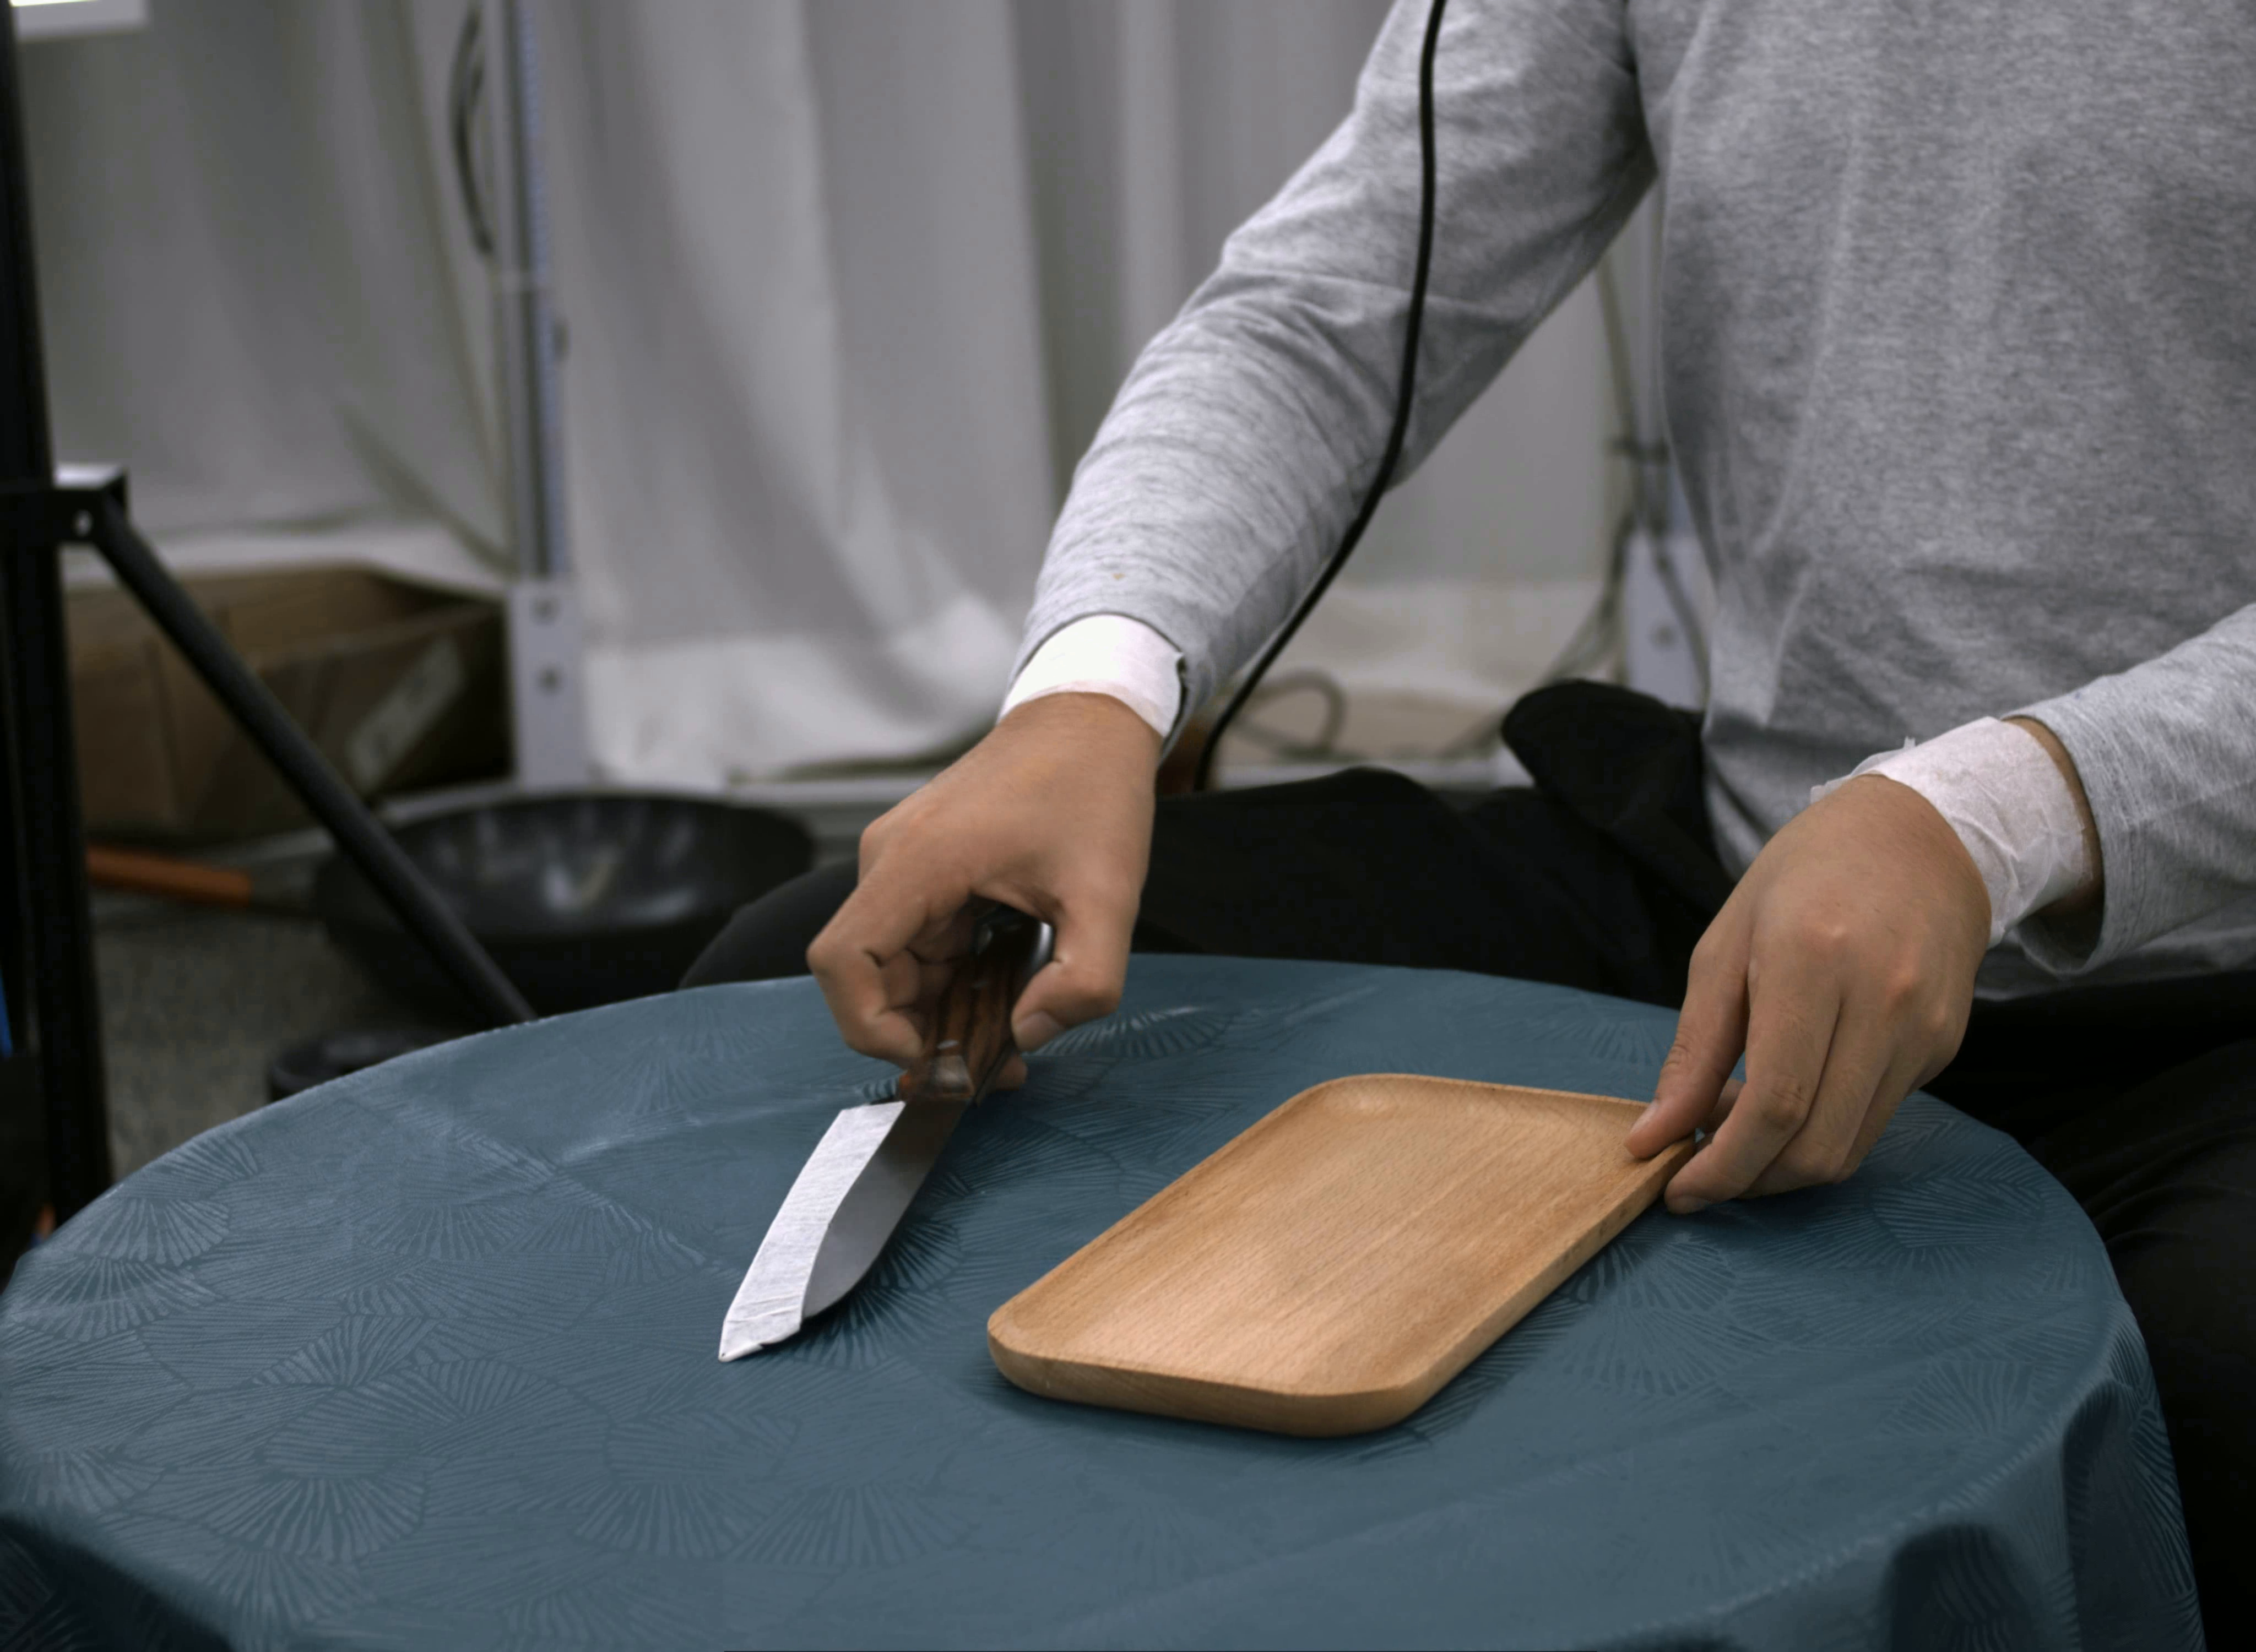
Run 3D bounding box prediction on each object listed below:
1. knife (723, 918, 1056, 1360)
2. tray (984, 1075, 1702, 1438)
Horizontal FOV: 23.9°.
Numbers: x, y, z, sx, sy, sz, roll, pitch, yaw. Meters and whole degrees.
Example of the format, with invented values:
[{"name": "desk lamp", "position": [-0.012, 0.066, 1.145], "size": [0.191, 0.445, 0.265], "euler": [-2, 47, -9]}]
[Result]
[{"name": "knife", "position": [-0.067, 0.091, 1.570], "size": [0.051, 0.020, 0.287], "euler": [-9, 19, 20]}, {"name": "tray", "position": [0.065, 0.118, 1.488], "size": [0.133, 0.023, 0.246], "euler": [8, 18, 27]}]
